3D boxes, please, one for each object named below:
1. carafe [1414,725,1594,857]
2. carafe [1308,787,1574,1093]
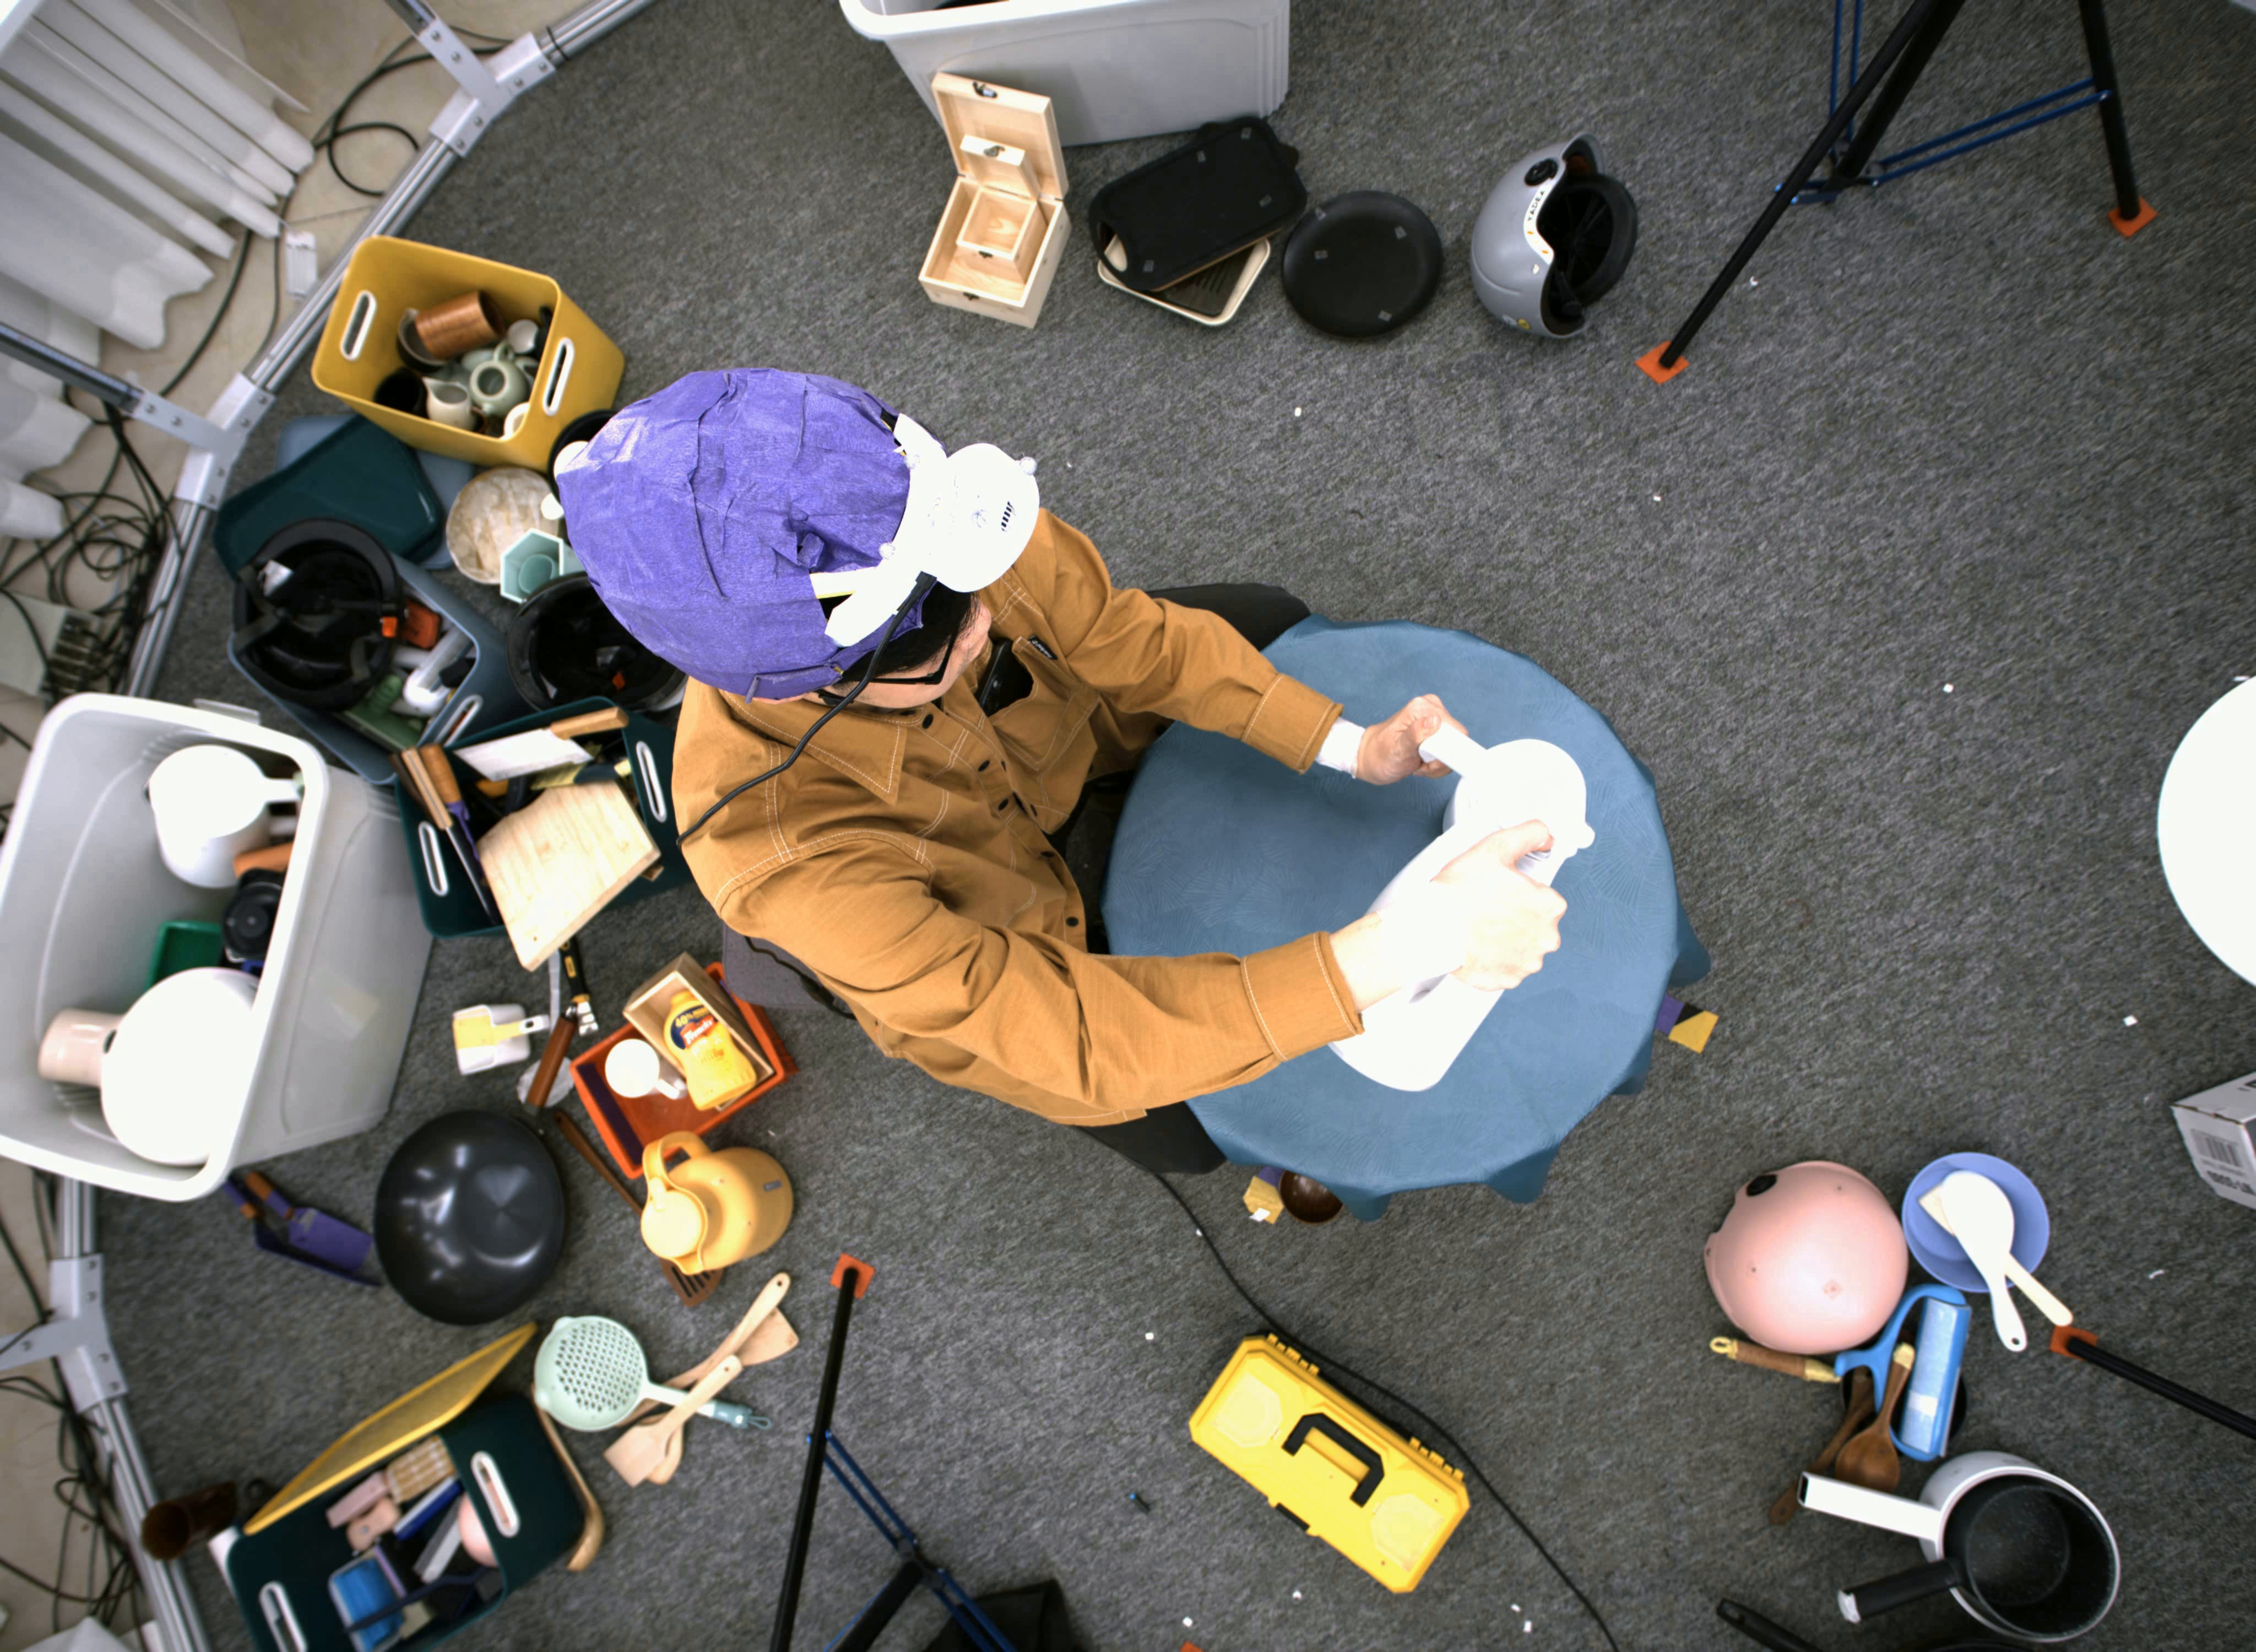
[{"bbox_3d":[0.352,-0.022,1.315,0.172,0.268,0.124,36,94,11],"label":"carafe"},{"bbox_3d":[0.262,0.095,1.123,0.132,0.163,0.254,26,120,-3],"label":"carafe"}]
